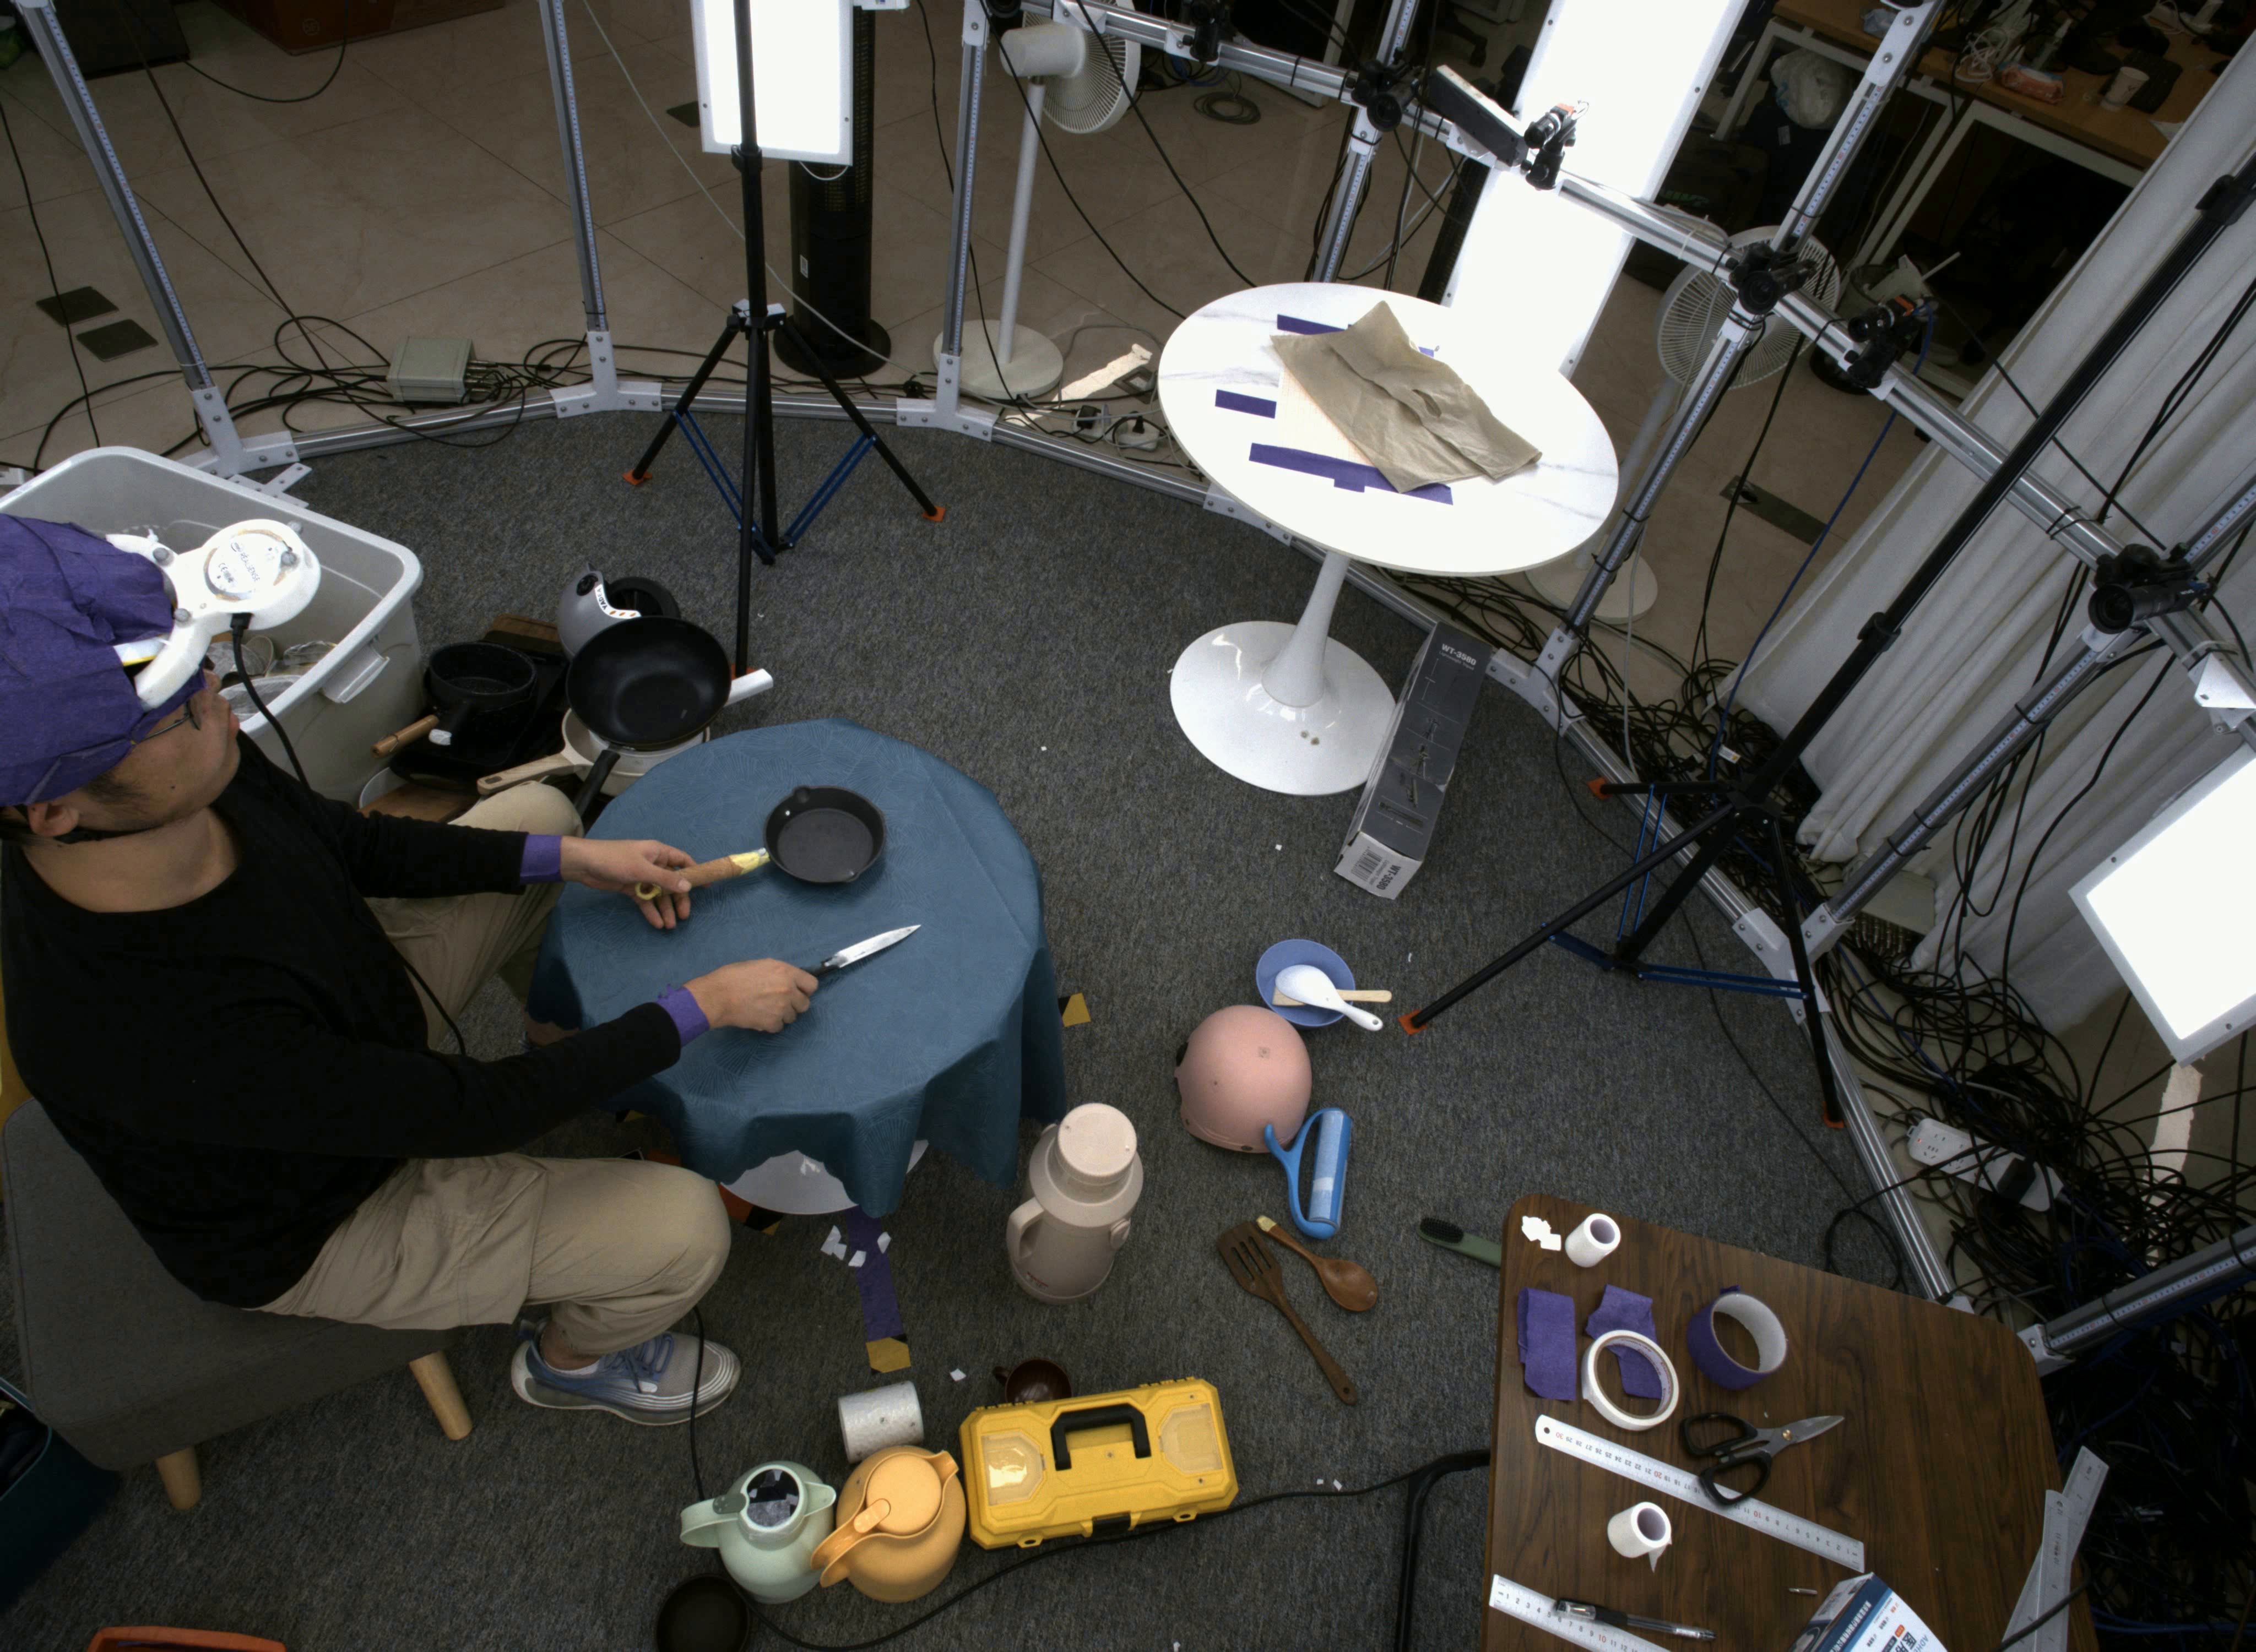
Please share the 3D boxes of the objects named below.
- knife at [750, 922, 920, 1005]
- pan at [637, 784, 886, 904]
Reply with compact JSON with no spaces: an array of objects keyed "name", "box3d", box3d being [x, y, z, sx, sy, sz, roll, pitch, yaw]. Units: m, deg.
[{"name":"knife","box3d":[-0.355,0.164,1.600,0.240,0.016,0.024,-24,62,-36]},{"name":"pan","box3d":[-0.466,0.038,1.652,0.326,0.050,0.164,-20,61,-26]}]
